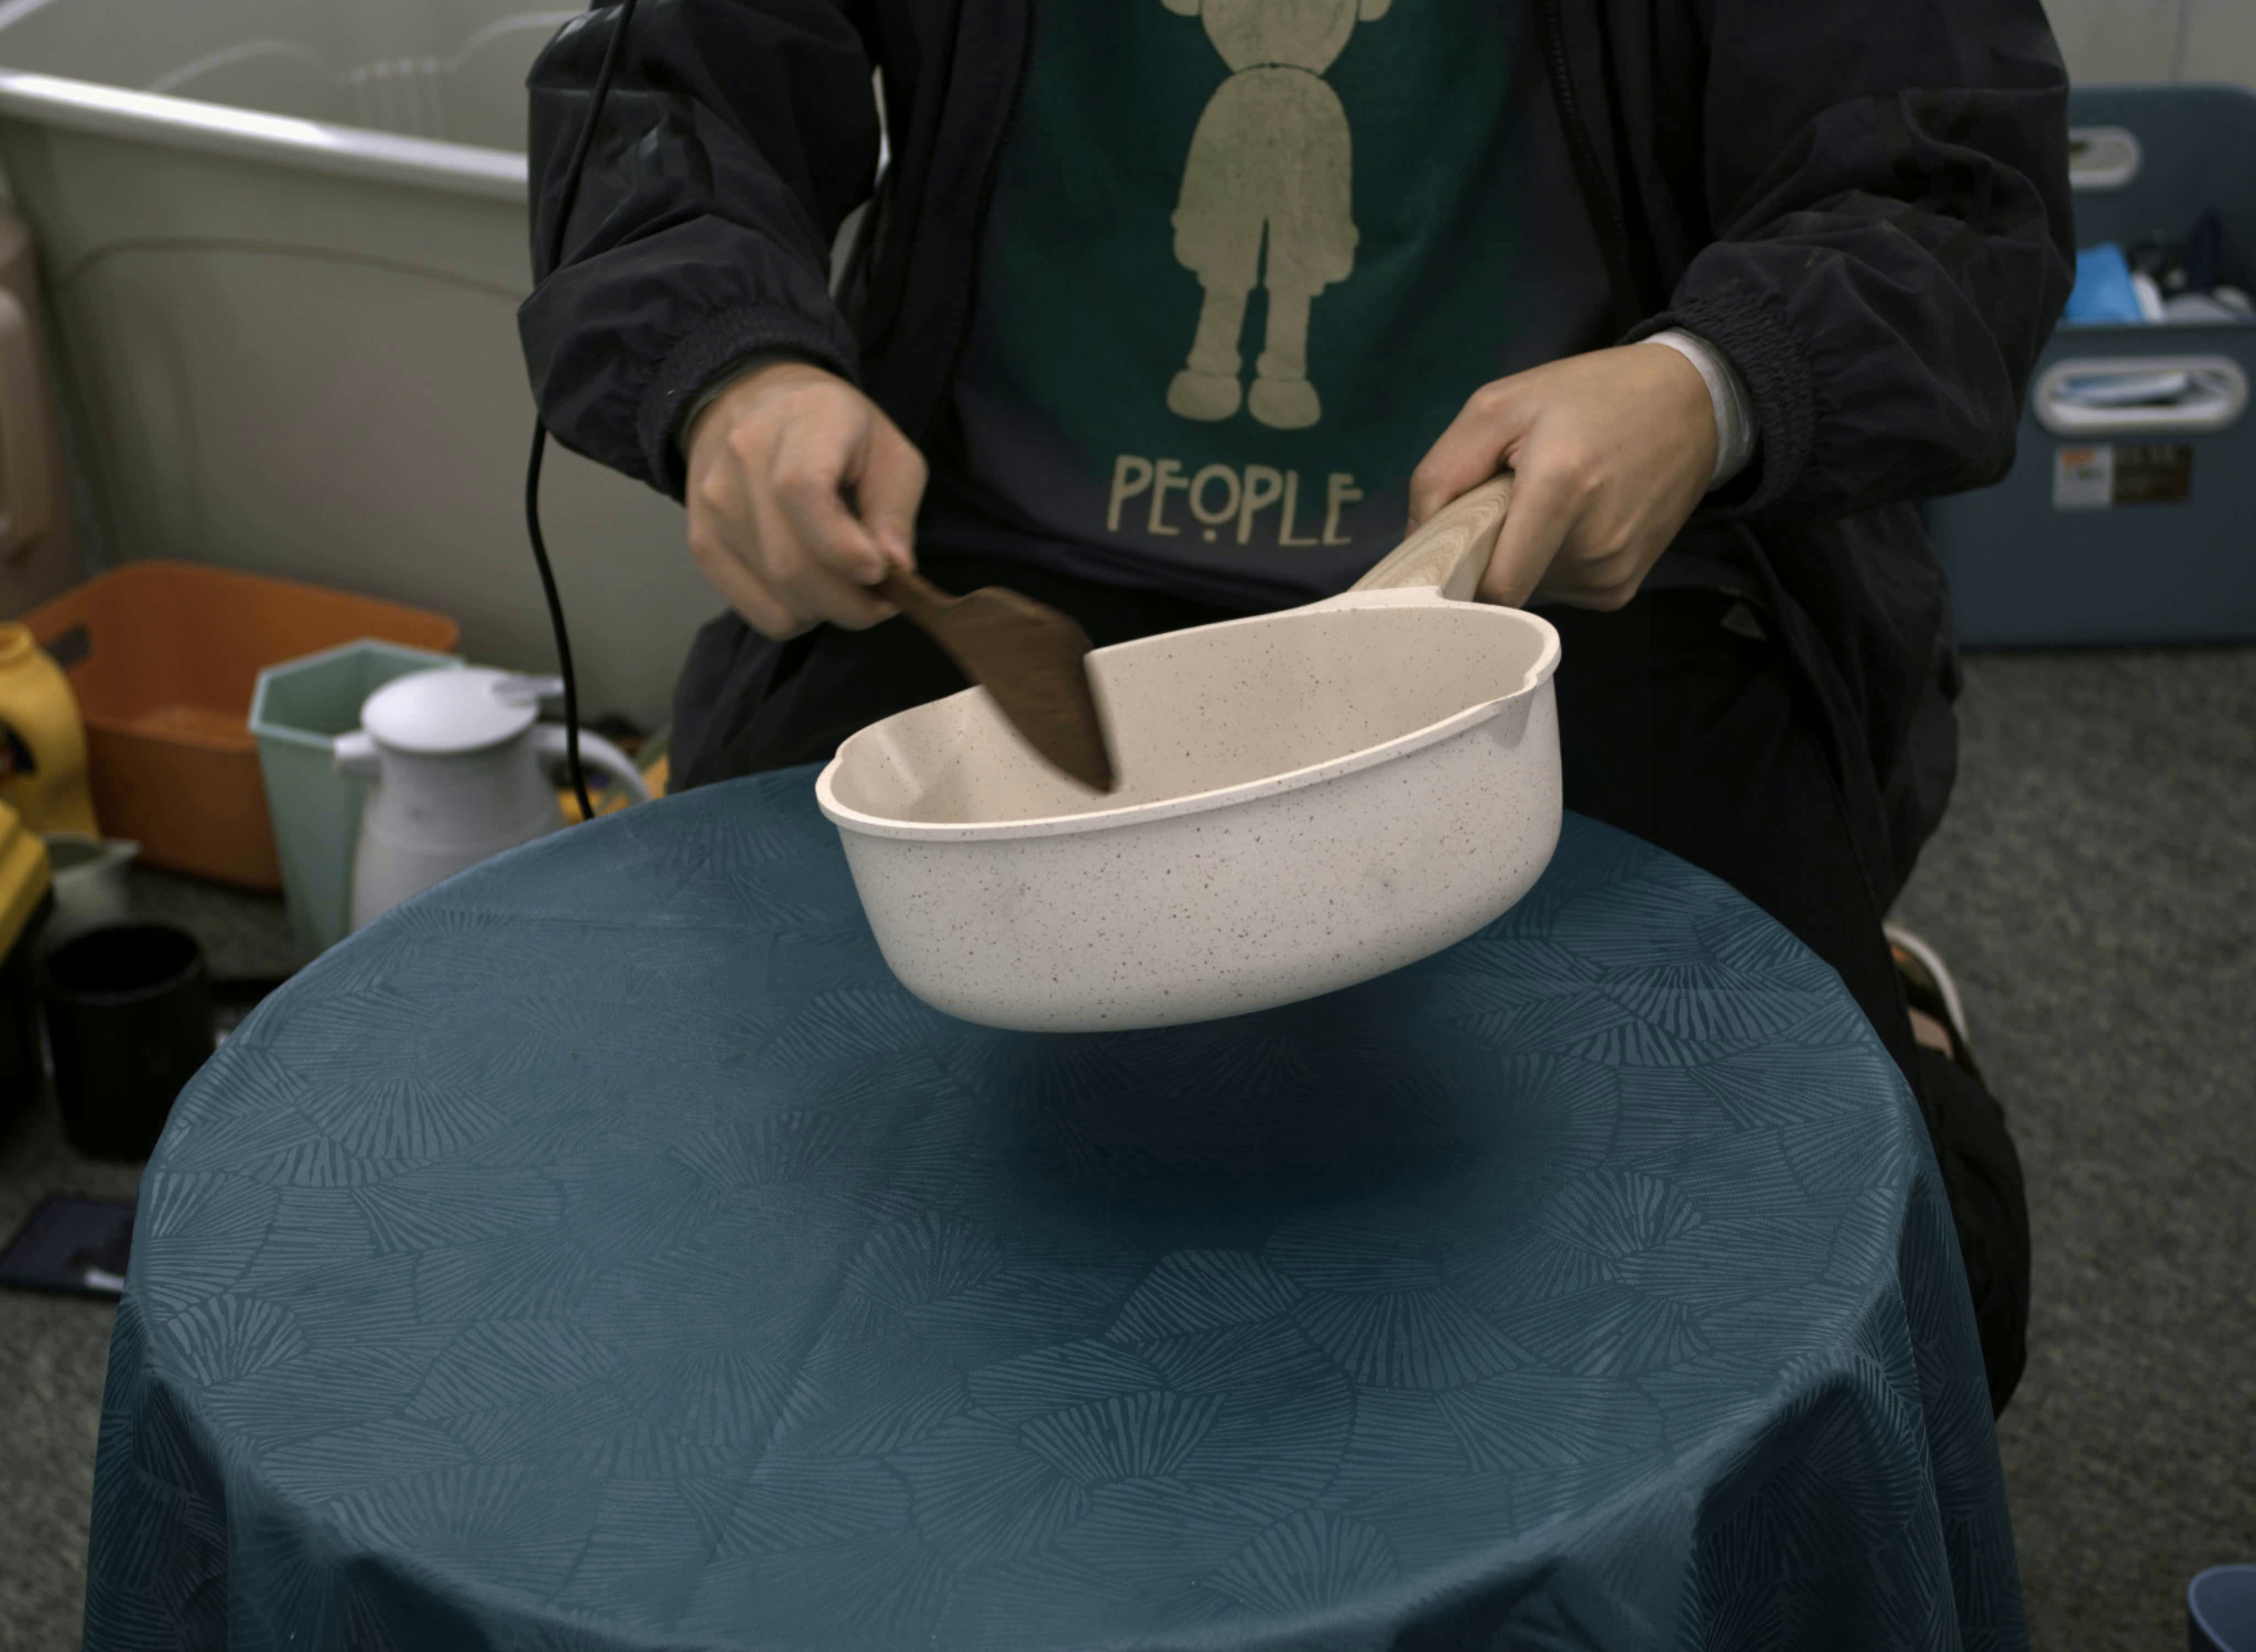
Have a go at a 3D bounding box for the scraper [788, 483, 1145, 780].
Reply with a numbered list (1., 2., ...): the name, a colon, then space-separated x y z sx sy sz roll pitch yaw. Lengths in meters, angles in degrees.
1. scraper: -0.061 -0.076 1.937 0.011 0.075 0.212 -30 35 -21

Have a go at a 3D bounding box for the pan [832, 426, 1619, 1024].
1. pan: 0.077 -0.037 1.935 0.260 0.102 0.440 -5 14 33
